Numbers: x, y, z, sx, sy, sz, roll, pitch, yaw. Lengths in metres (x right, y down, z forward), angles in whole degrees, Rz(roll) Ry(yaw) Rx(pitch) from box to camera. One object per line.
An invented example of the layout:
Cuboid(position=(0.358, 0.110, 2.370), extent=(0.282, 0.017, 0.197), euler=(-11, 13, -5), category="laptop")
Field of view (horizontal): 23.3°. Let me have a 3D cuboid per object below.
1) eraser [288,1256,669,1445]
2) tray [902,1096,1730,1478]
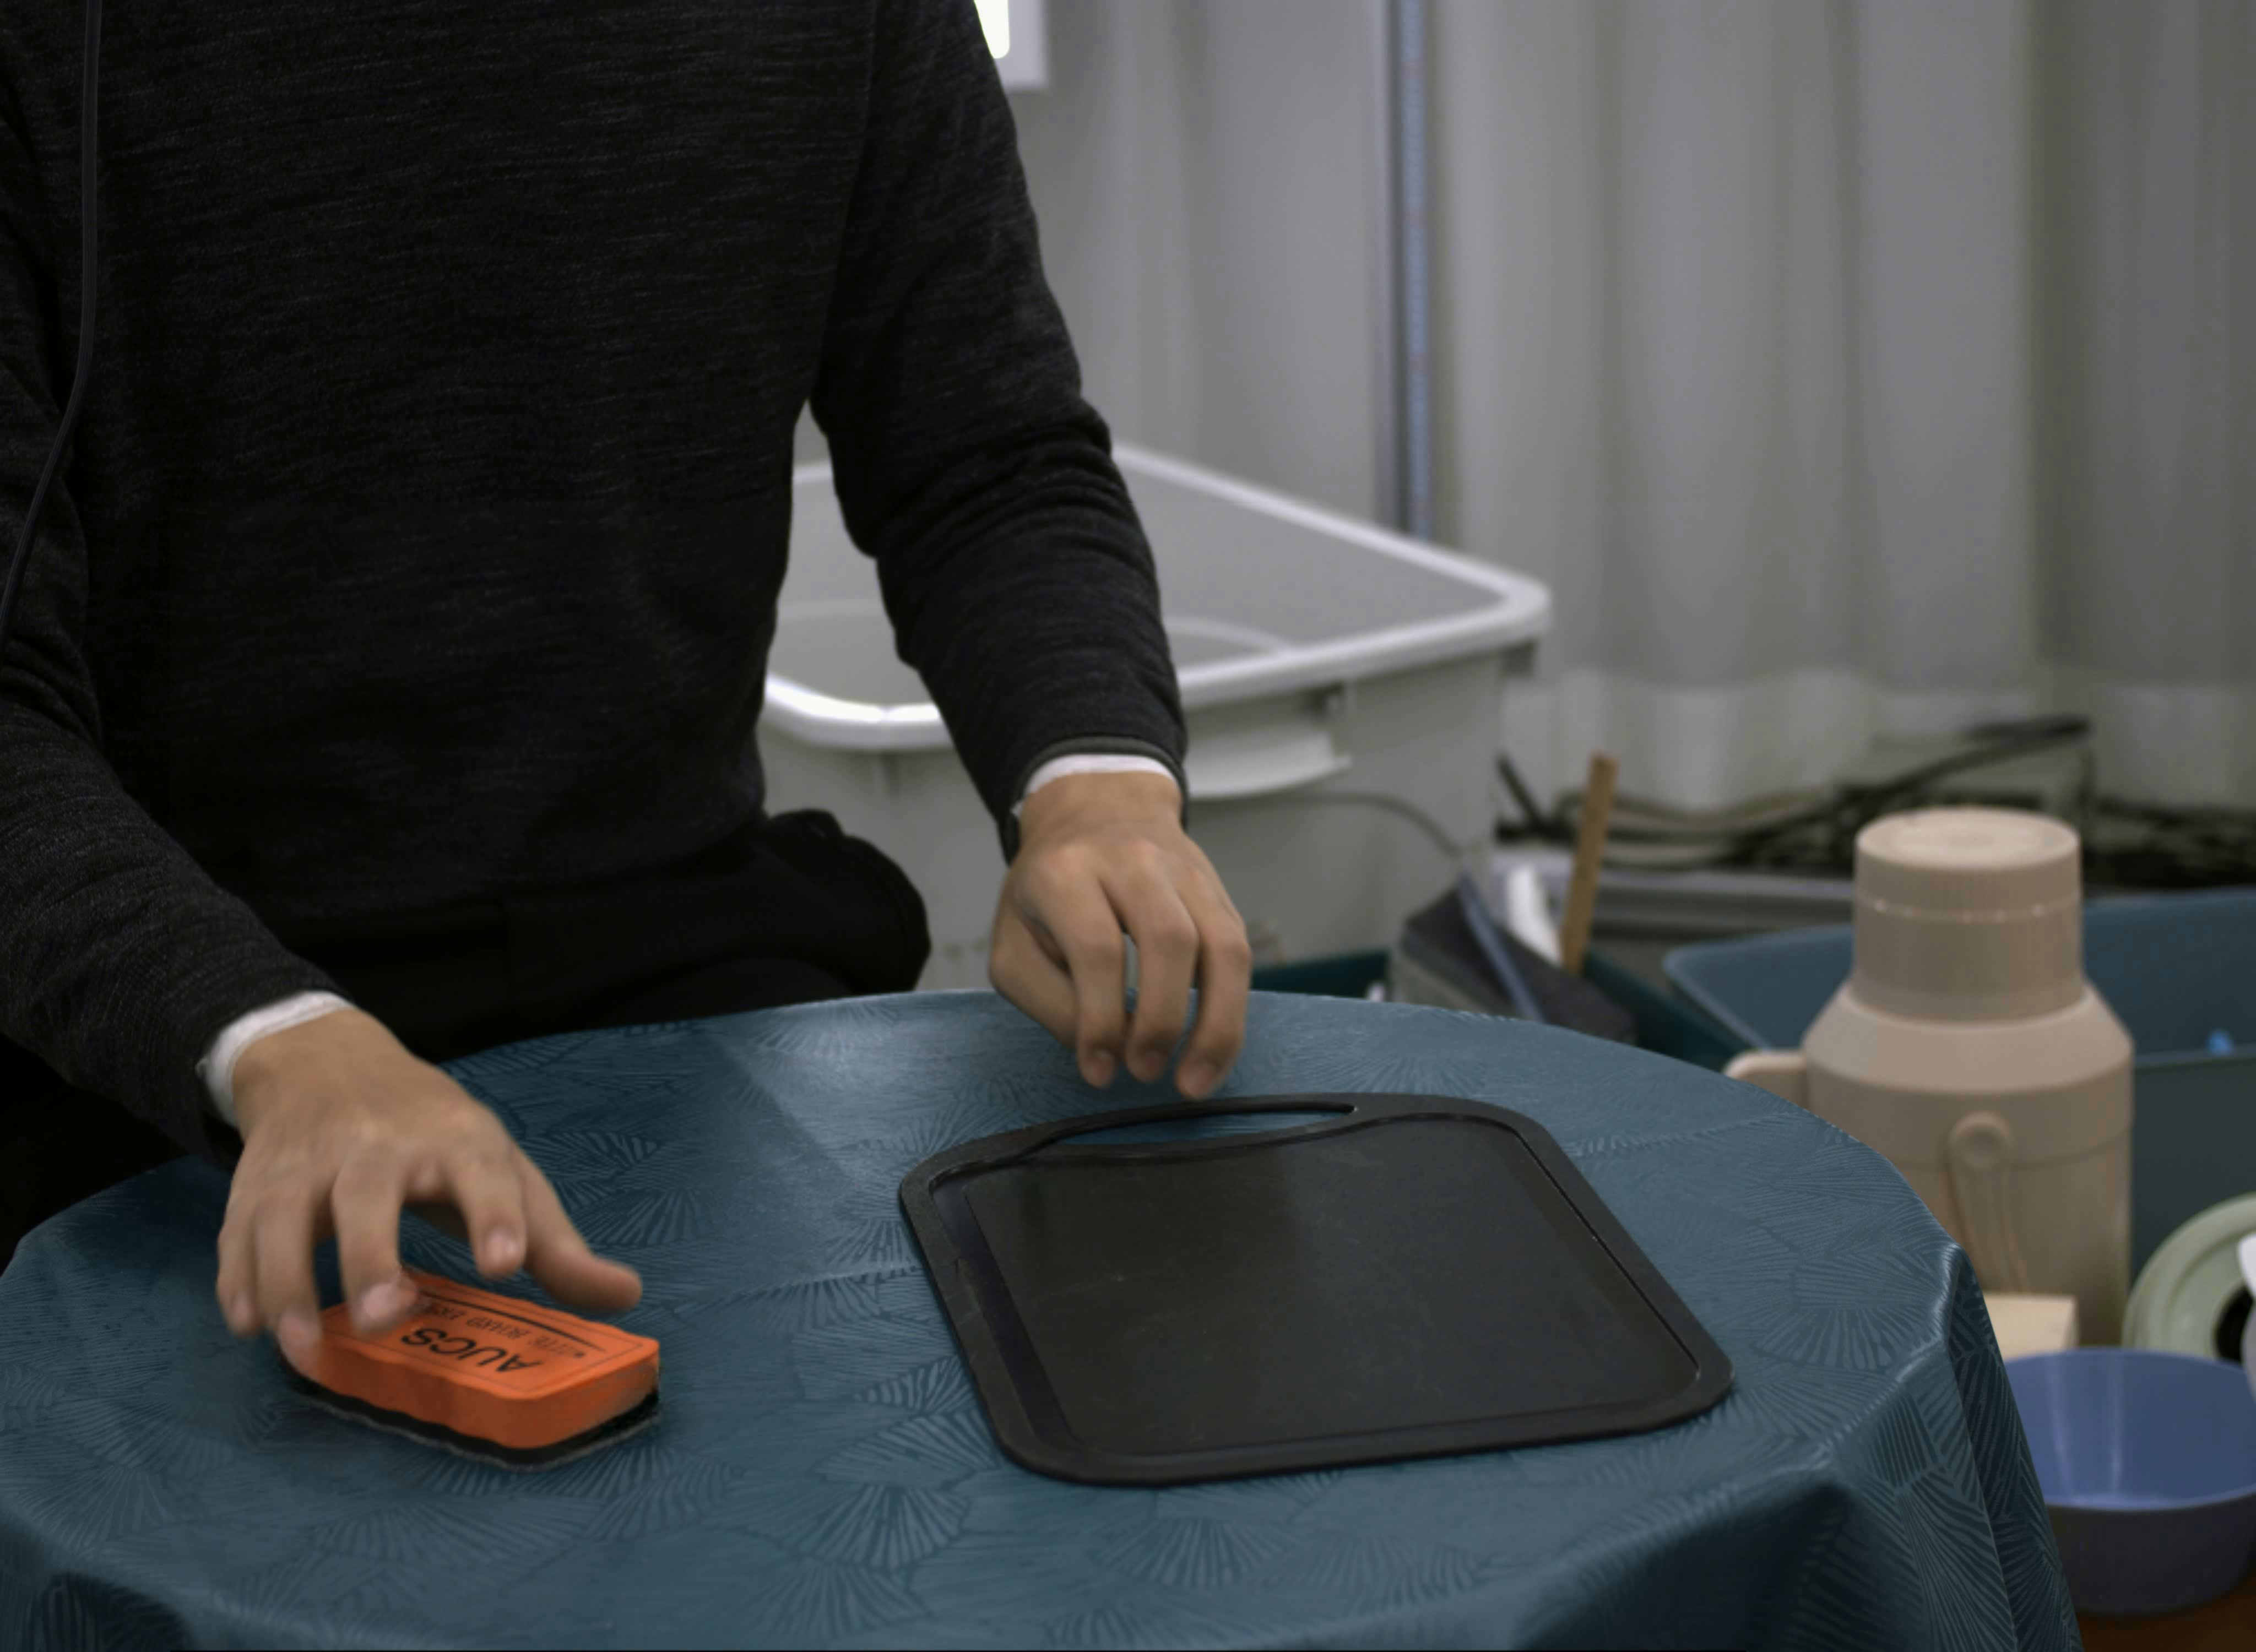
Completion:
Cuboid(position=(-0.184, 0.148, 1.550), extent=(0.108, 0.023, 0.059), euler=(10, 18, 40), category="eraser")
Cuboid(position=(0.046, 0.130, 1.634), extent=(0.210, 0.010, 0.328), euler=(-5, 15, -8), category="tray")
